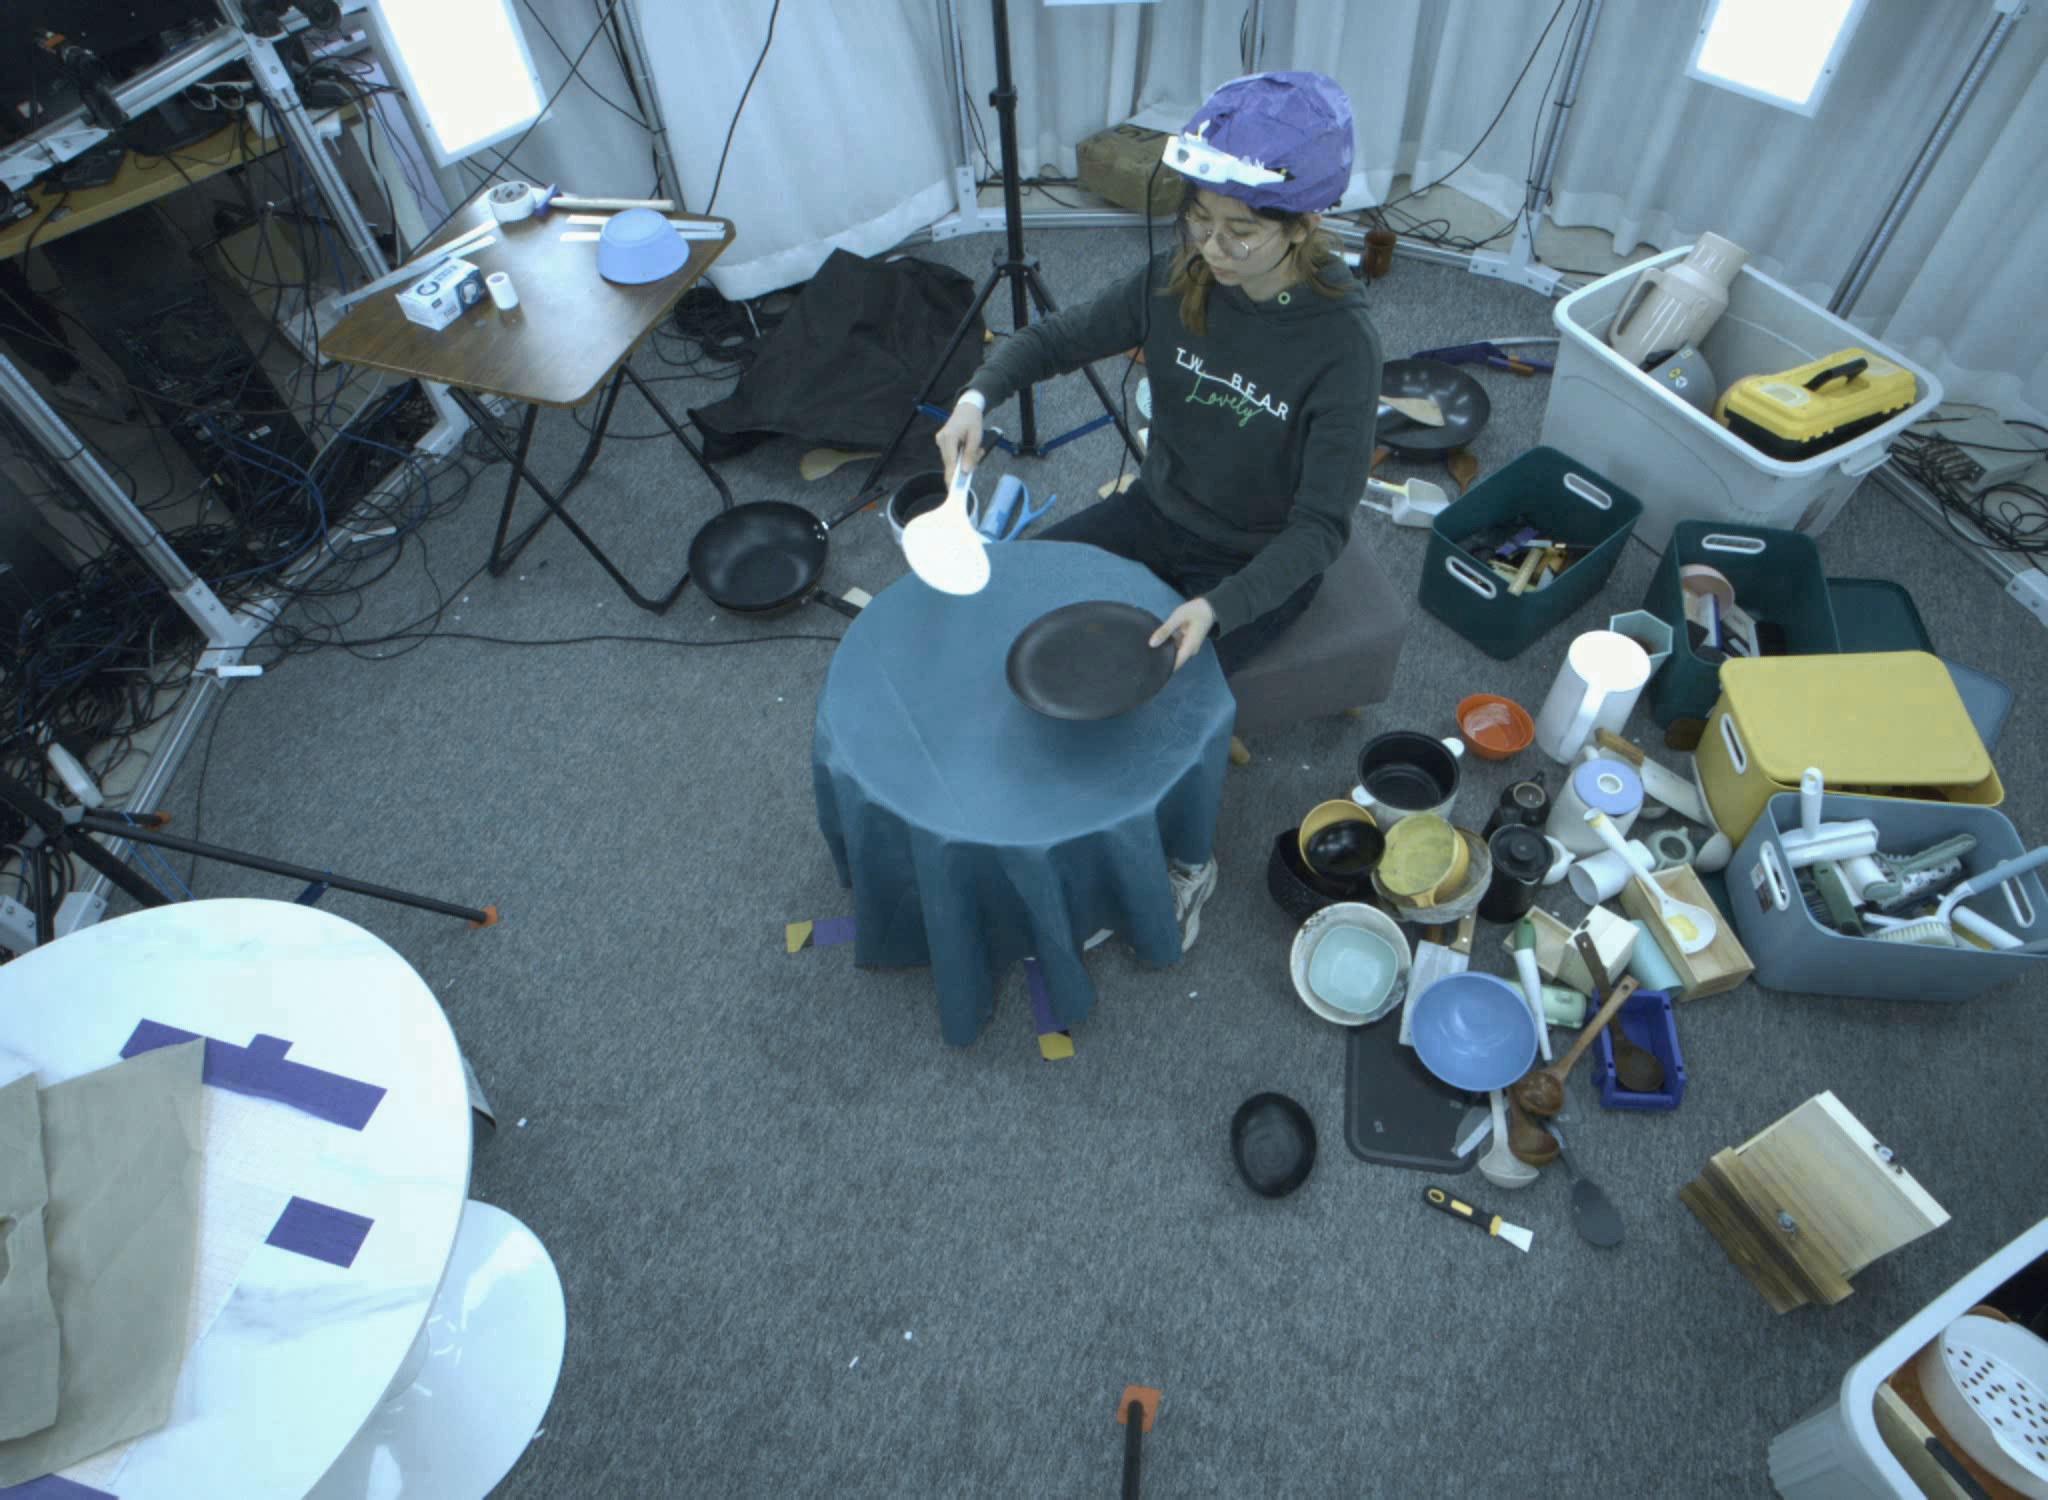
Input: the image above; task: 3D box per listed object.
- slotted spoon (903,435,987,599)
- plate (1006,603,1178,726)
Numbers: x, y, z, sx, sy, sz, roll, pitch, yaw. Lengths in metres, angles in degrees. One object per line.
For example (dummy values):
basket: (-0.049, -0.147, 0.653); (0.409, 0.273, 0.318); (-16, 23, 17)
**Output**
slotted spoon: (-0.102, -0.352, 1.793); (0.138, 0.045, 0.347); (27, 54, -23)
plate: (0.097, -0.119, 1.749); (0.243, 0.024, 0.242); (-4, 49, 6)
